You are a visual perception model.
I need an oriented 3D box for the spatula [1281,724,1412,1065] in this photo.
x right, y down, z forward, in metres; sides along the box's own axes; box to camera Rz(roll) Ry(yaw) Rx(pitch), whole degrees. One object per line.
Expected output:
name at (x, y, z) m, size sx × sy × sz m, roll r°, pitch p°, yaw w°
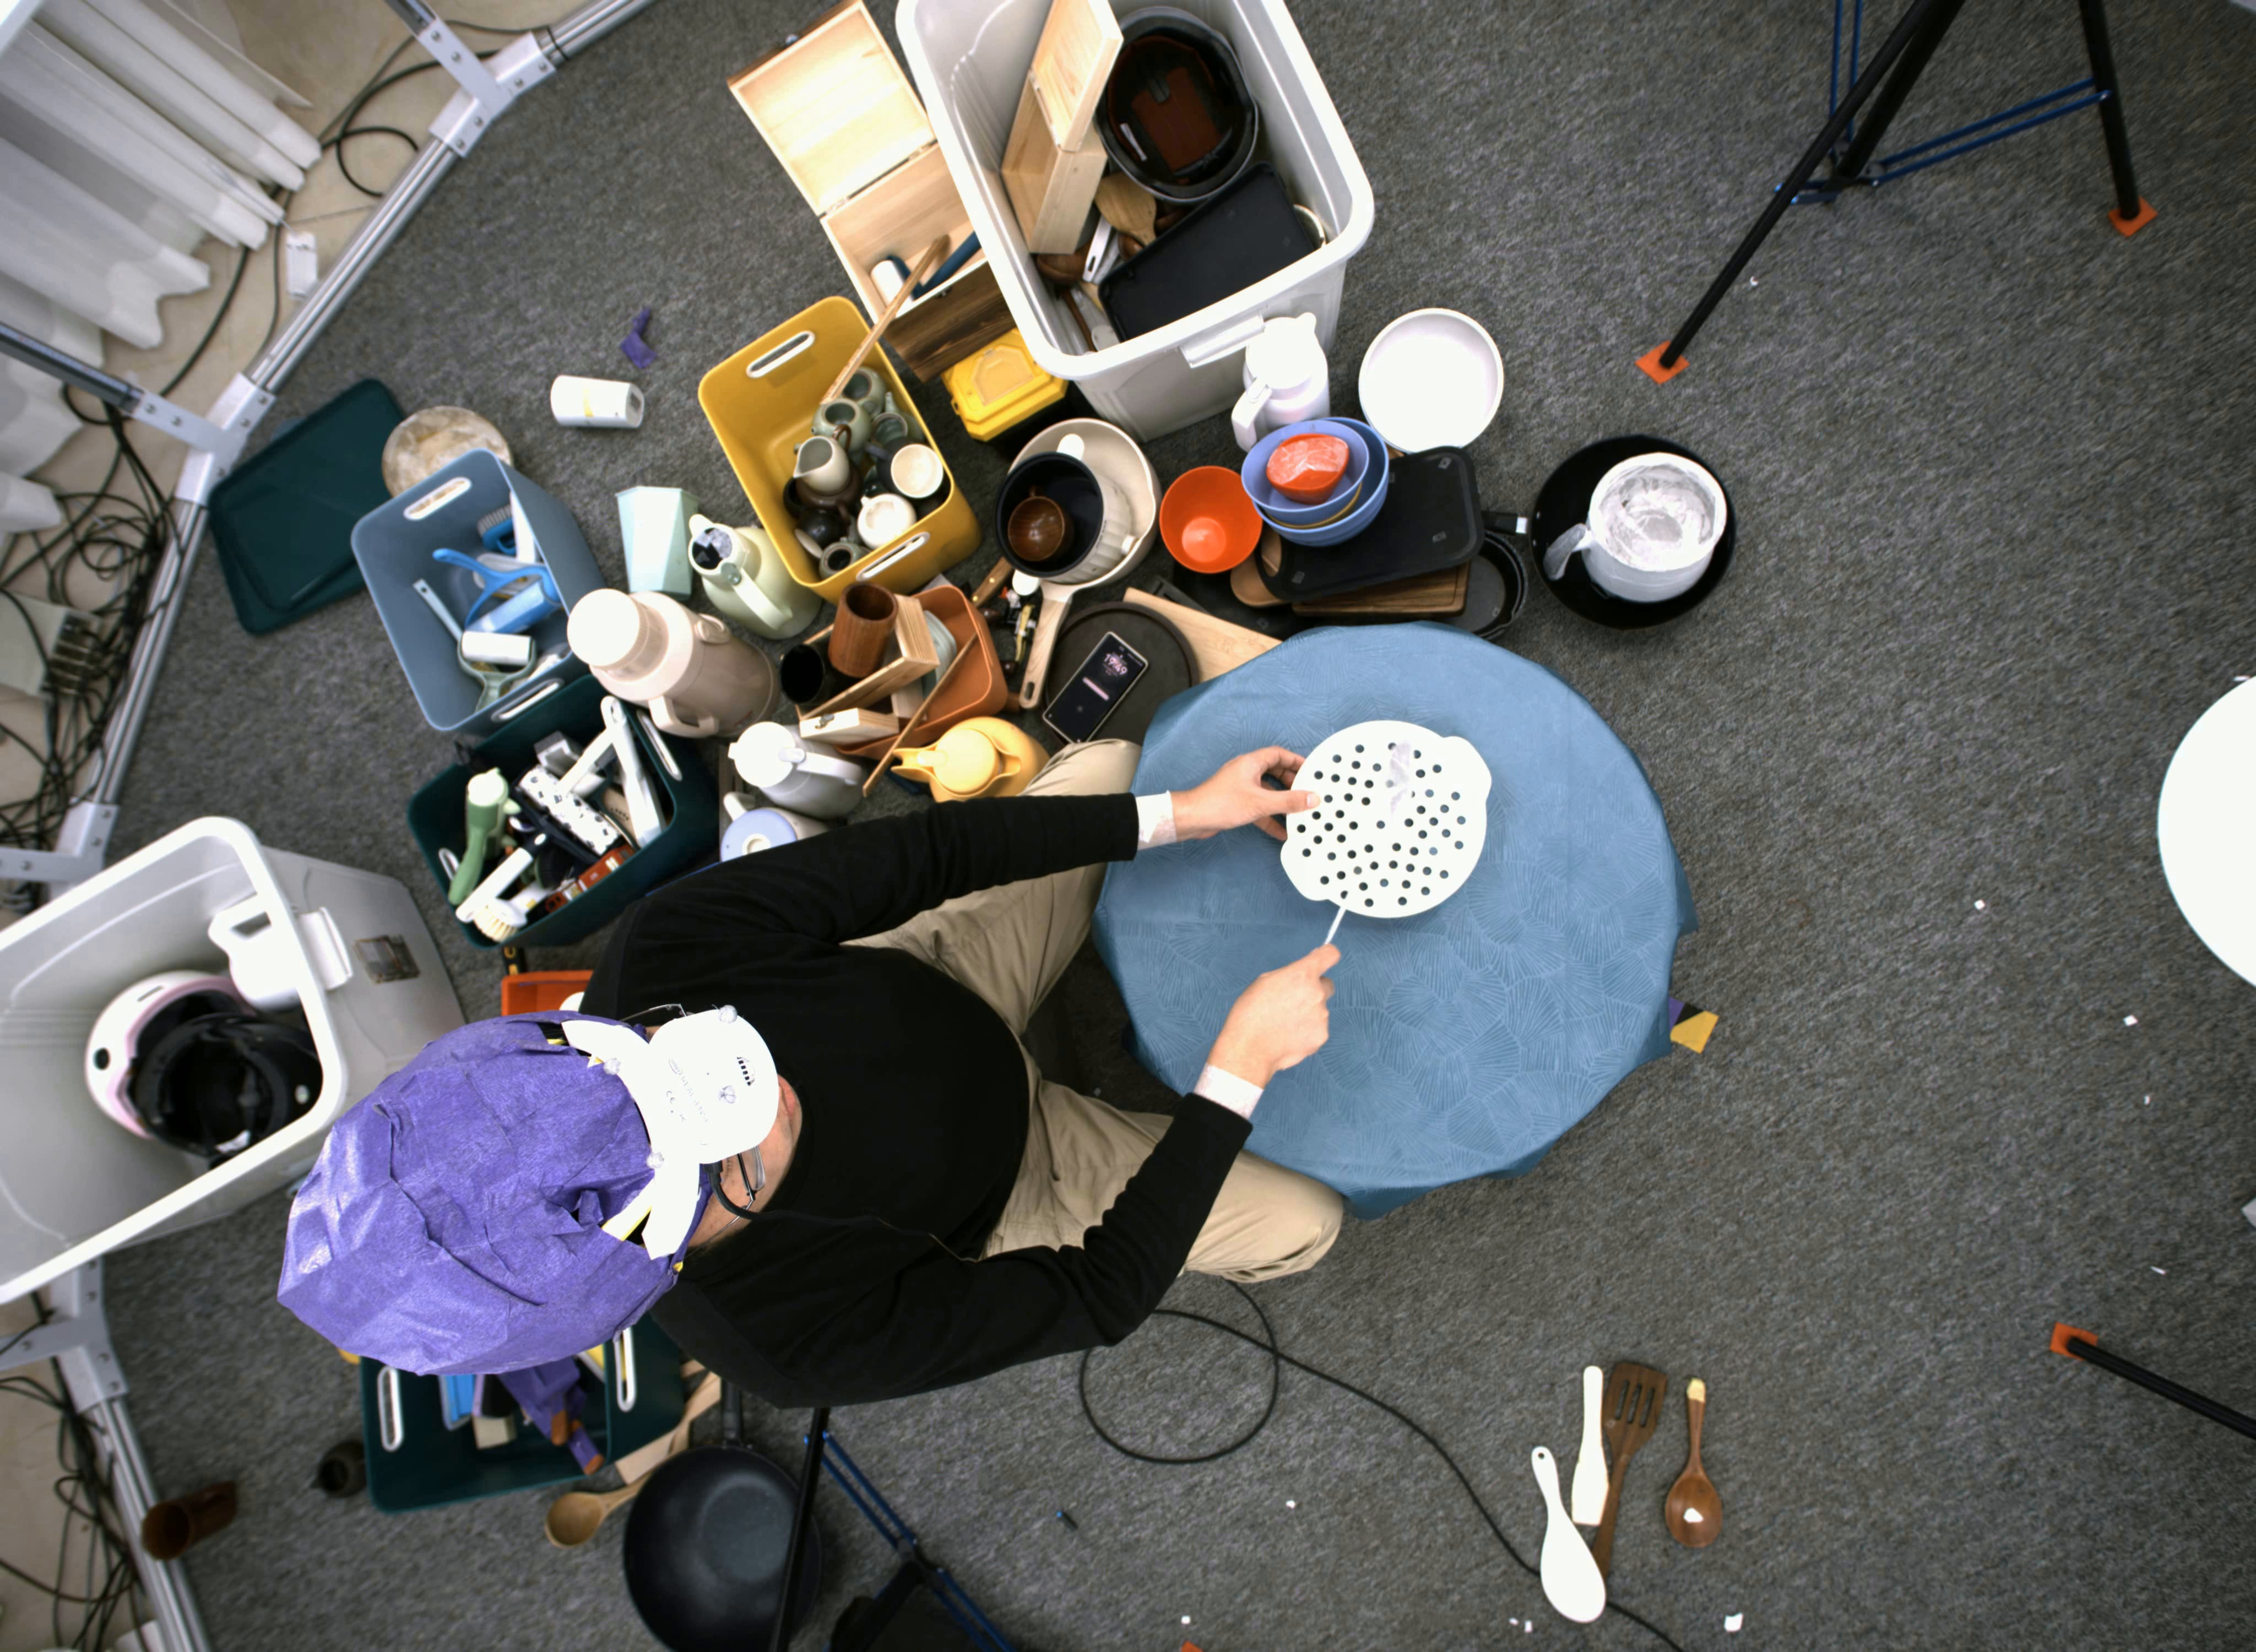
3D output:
spatula at (0.214, 0.063, 1.367) m, size 0.045 × 0.100 × 0.360 m, roll 28°, pitch 75°, yaw 1°

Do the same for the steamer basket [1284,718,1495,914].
steamer basket at (0.268, -0.009, 1.425) m, size 0.231 × 0.069 × 0.201 m, roll -32°, pitch 83°, yaw 4°
